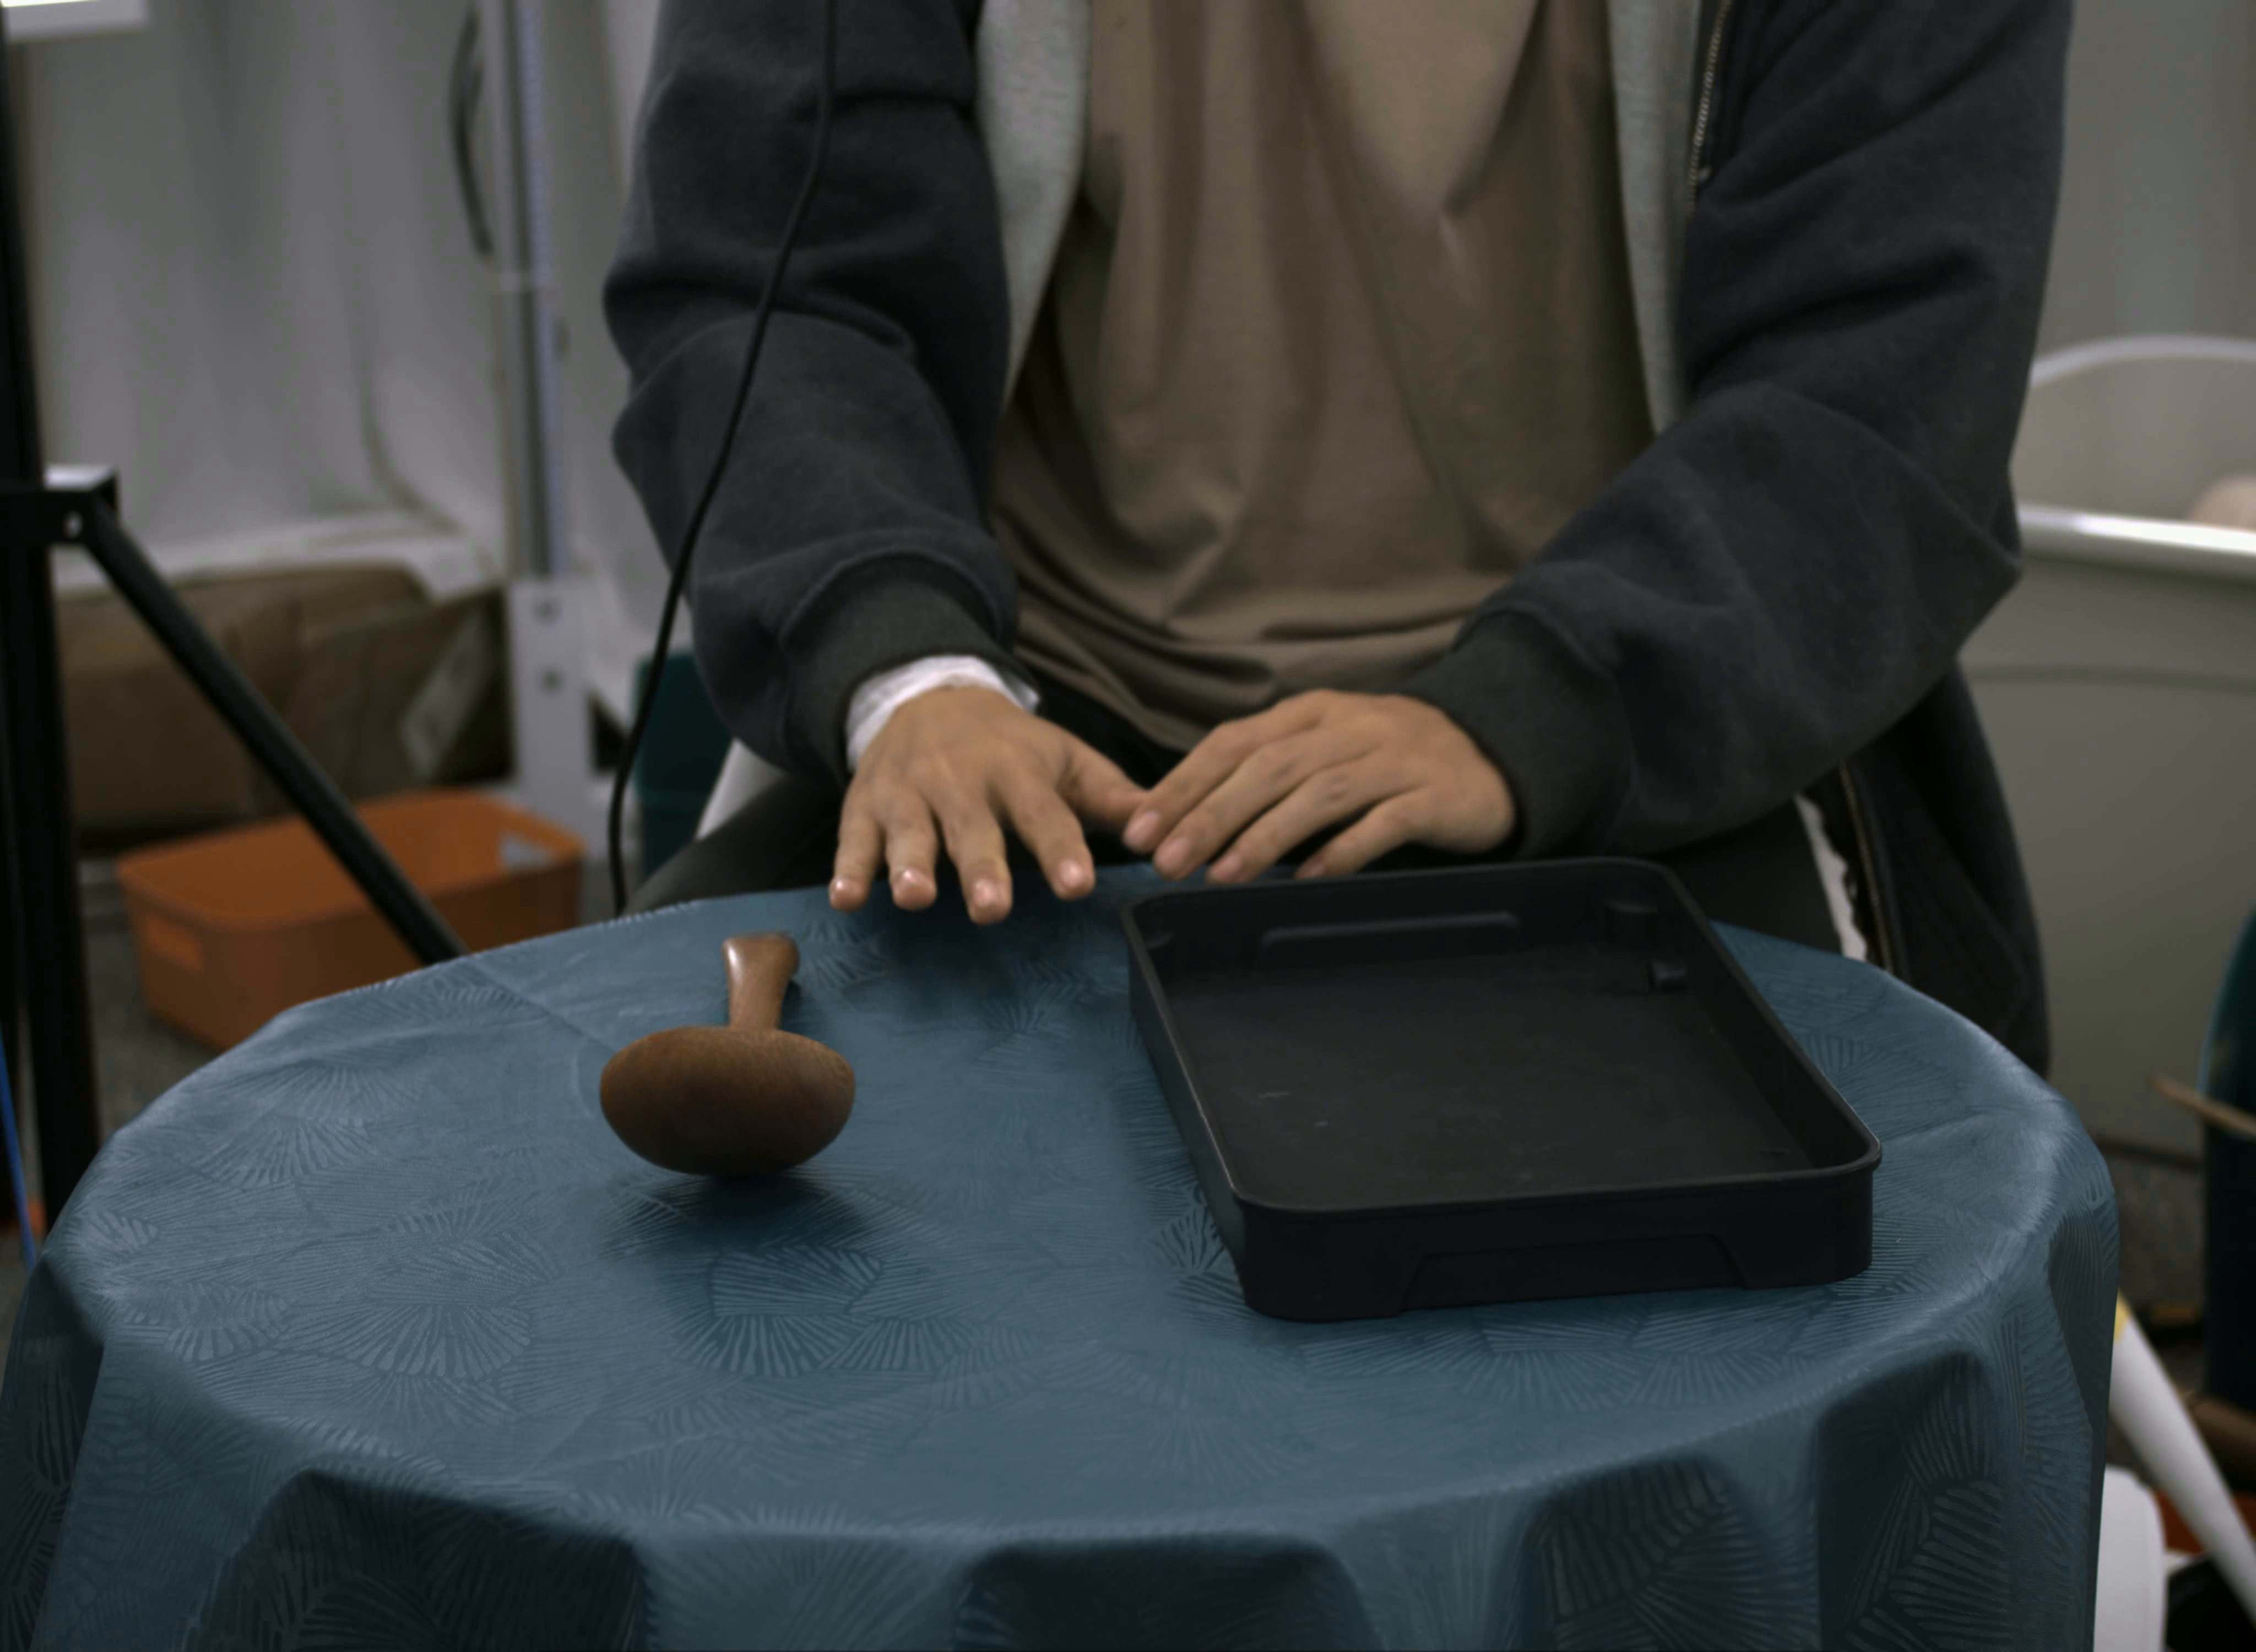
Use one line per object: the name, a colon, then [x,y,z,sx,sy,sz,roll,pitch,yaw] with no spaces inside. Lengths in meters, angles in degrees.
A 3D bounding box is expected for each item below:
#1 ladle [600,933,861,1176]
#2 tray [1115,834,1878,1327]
ladle: [-0.118,0.054,1.654,0.076,0.065,0.261,3,16,-1]
tray: [0.103,0.071,1.599,0.183,0.037,0.321,-4,17,-5]
